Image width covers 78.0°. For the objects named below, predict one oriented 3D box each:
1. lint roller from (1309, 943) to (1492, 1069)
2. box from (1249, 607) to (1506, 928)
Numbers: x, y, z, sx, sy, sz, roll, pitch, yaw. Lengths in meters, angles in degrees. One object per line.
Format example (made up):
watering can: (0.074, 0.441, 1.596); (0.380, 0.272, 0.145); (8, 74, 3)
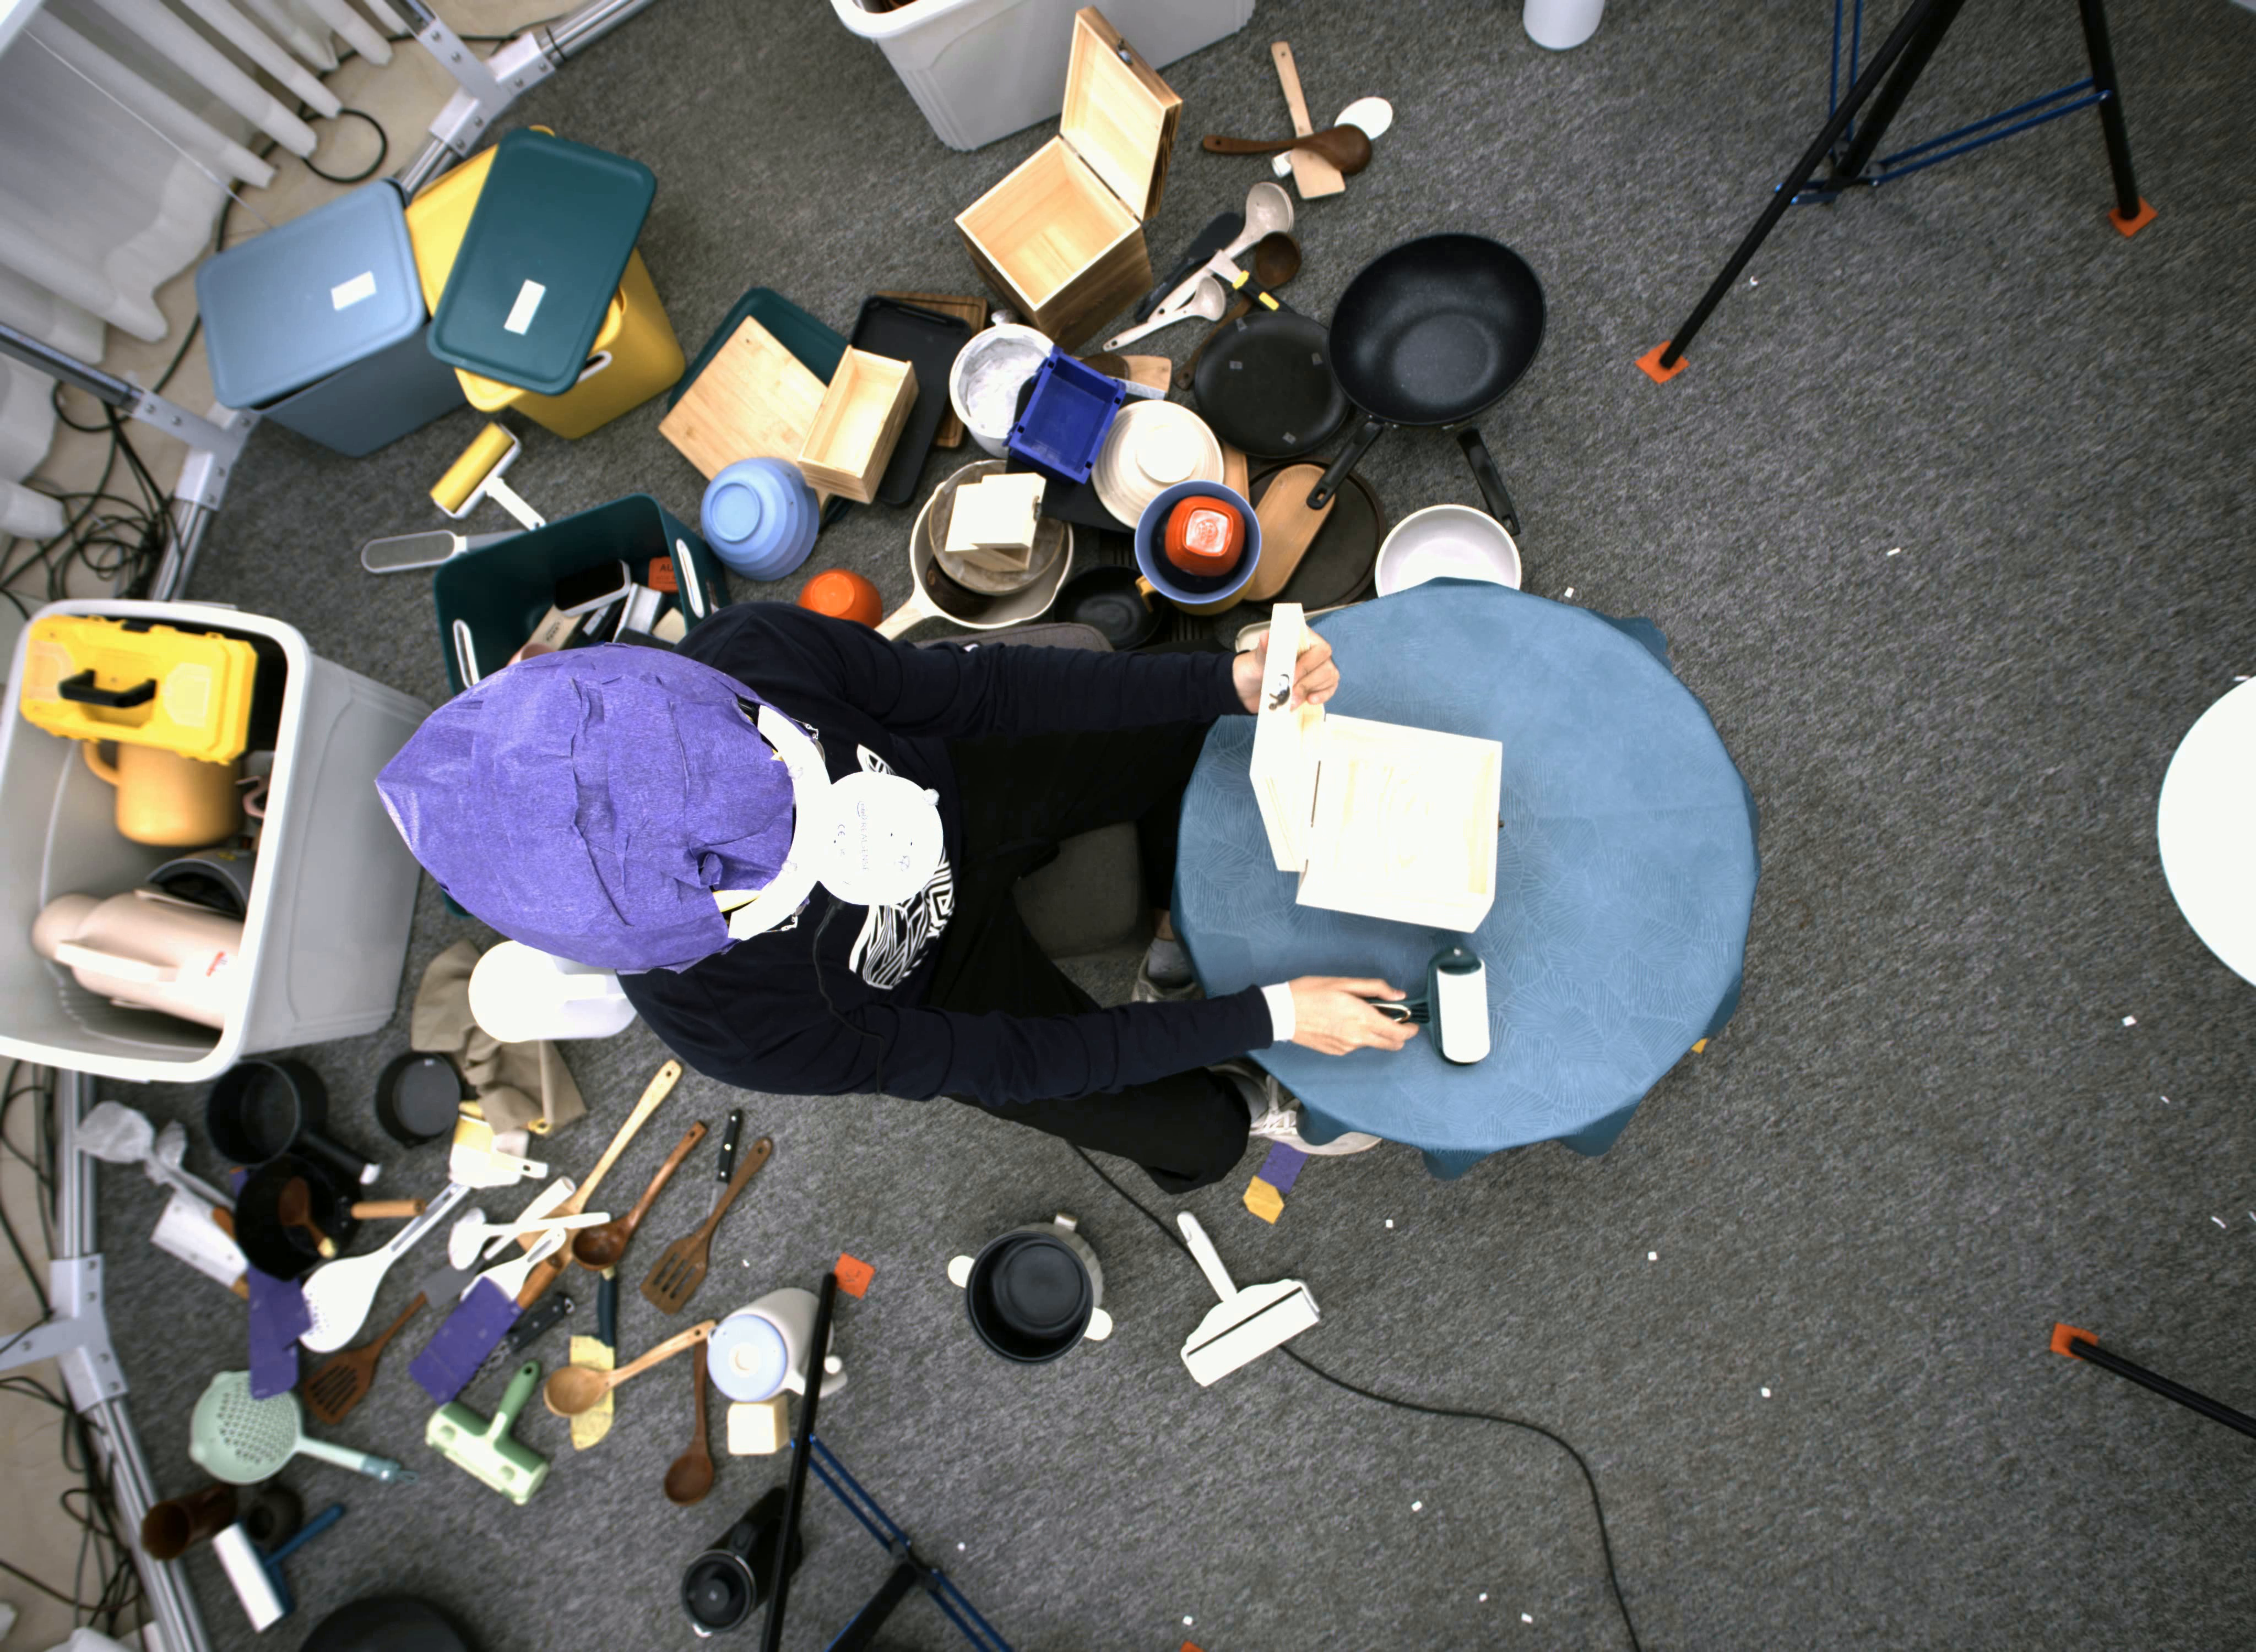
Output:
lint roller: (0.275, 0.189, 1.408); (0.181, 0.047, 0.136); (-8, 109, 9)
box: (0.242, -0.049, 1.304); (0.265, 0.258, 0.178); (8, 66, 2)
